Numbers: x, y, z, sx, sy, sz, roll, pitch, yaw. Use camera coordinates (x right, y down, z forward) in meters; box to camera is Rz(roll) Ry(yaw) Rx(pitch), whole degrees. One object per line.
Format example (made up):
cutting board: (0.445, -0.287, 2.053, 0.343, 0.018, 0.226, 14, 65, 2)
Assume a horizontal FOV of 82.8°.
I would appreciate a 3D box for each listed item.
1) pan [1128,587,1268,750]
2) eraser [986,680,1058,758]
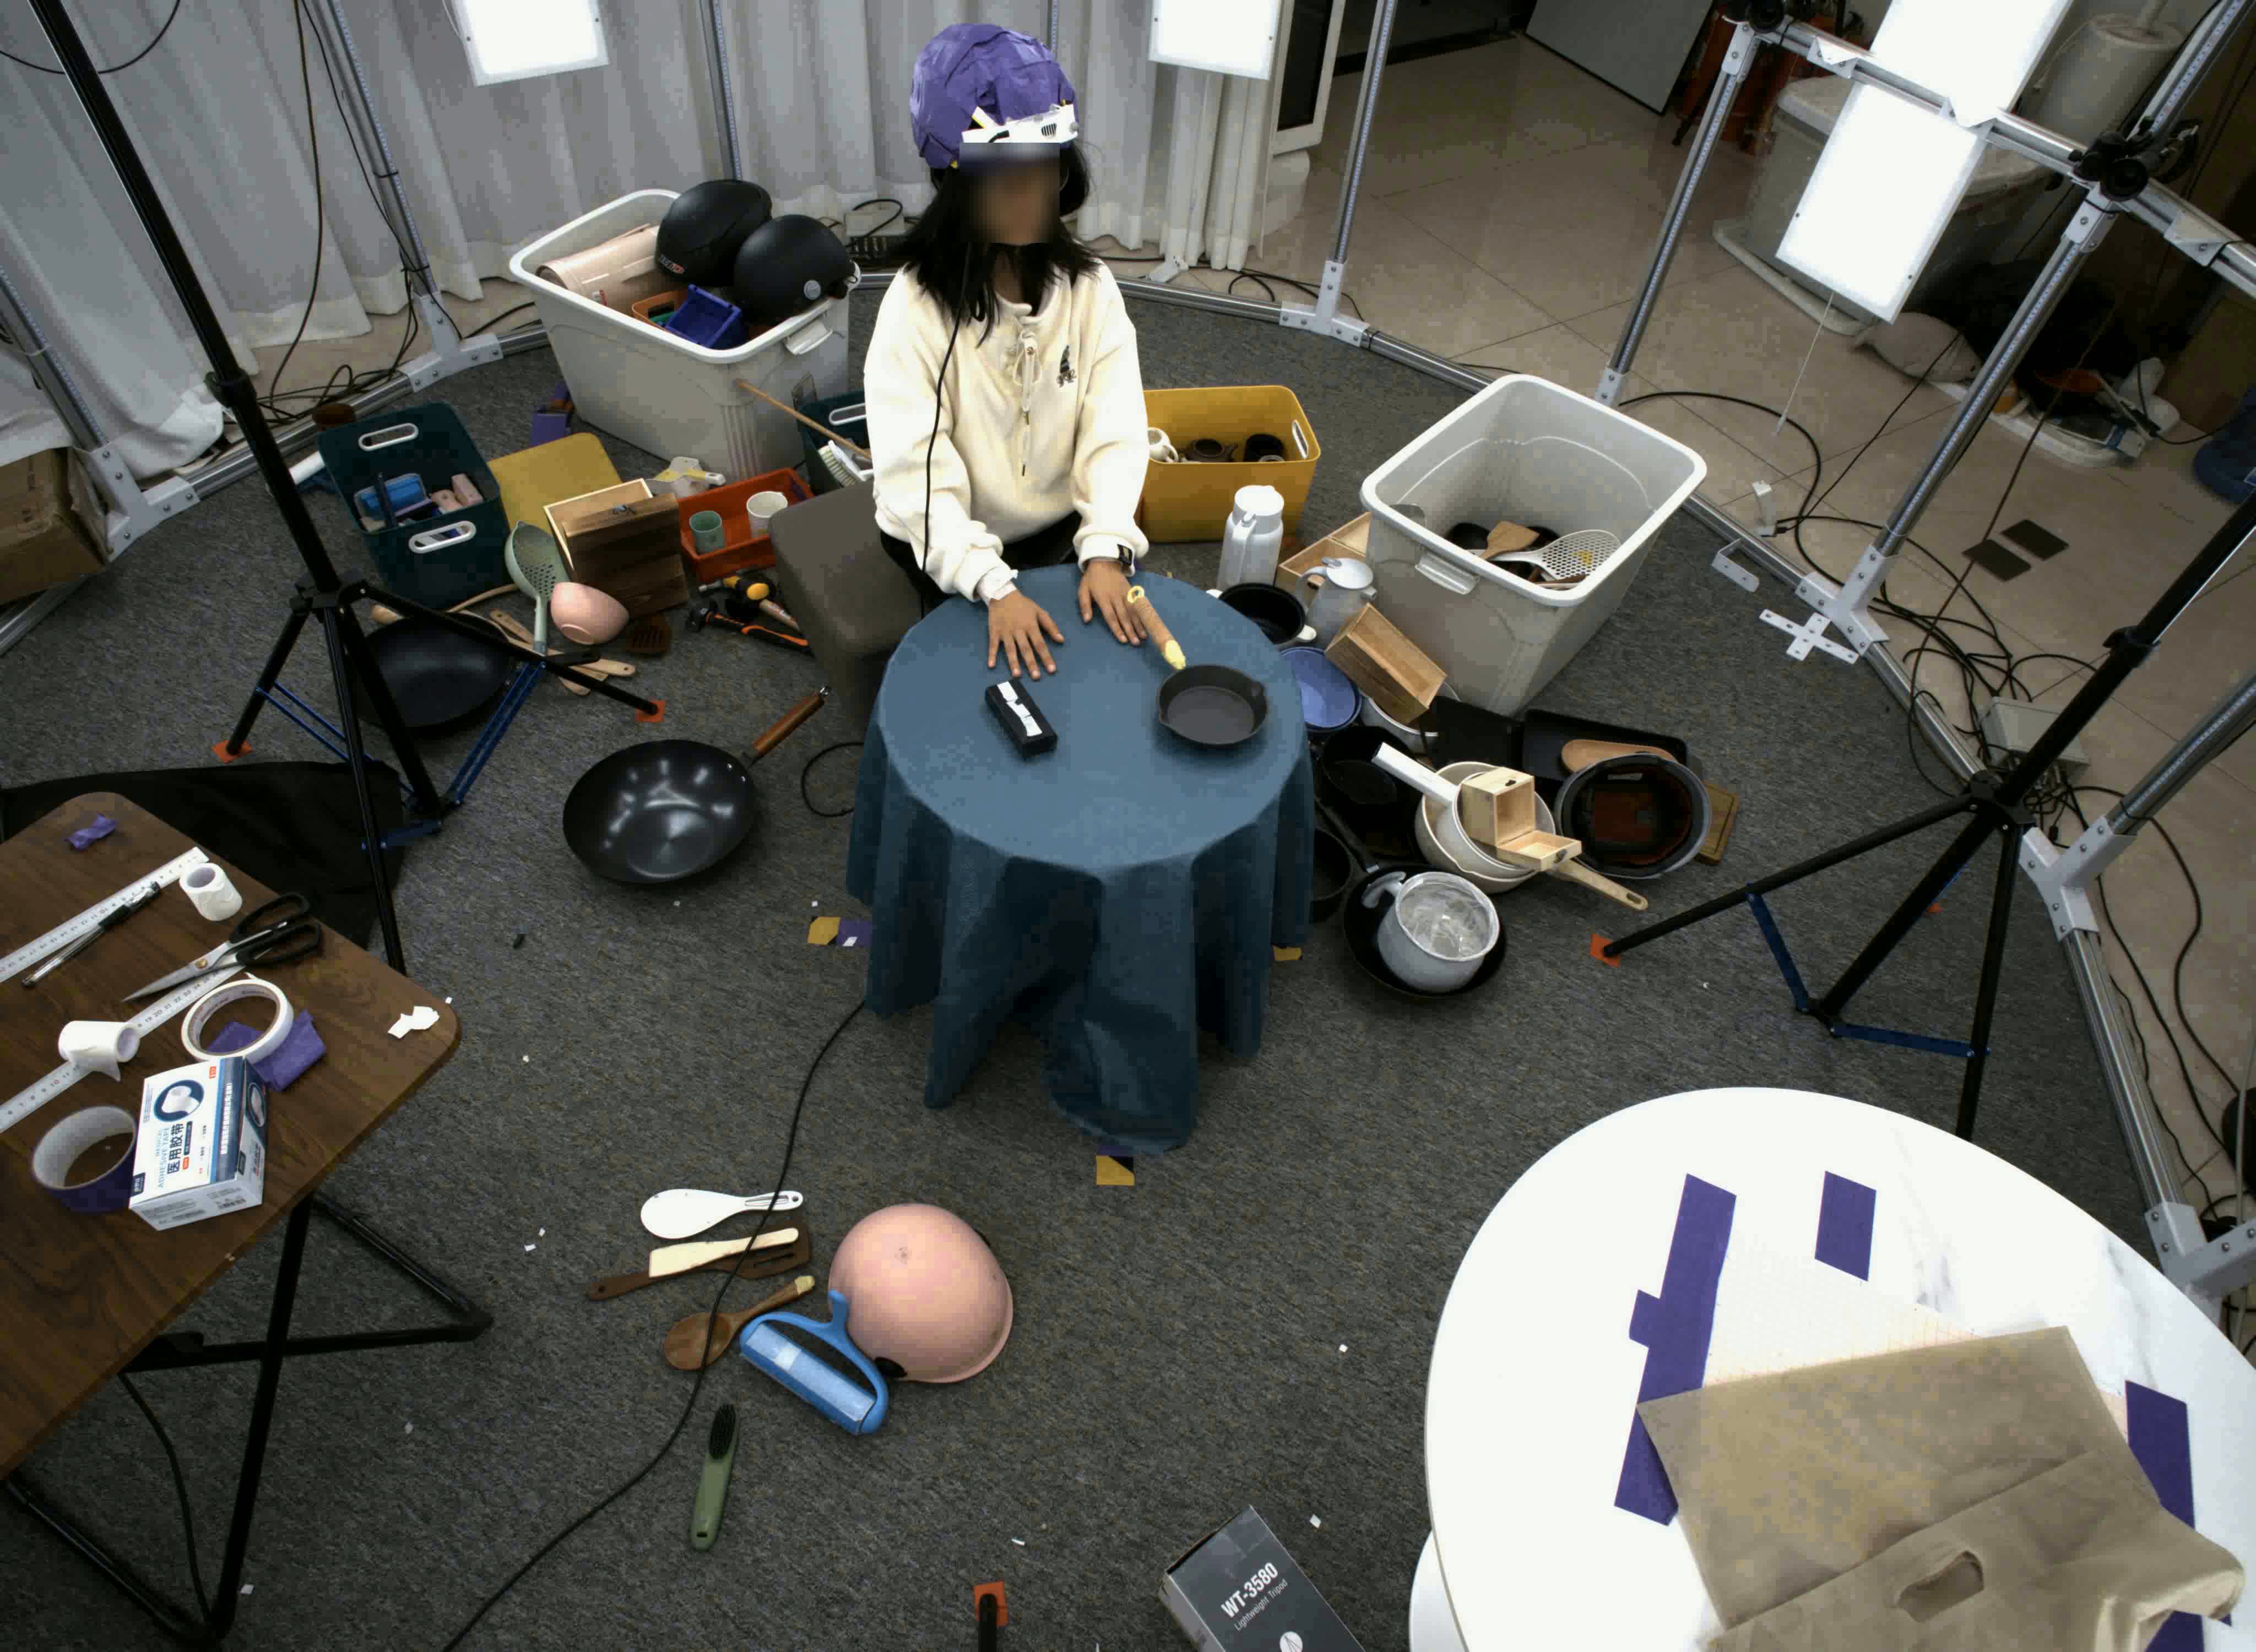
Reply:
pan: (0.080, -0.228, 1.840, 0.169, 0.048, 0.331, -19, 54, -18)
eraser: (-0.146, -0.149, 1.772, 0.053, 0.030, 0.128, -19, 52, -20)
